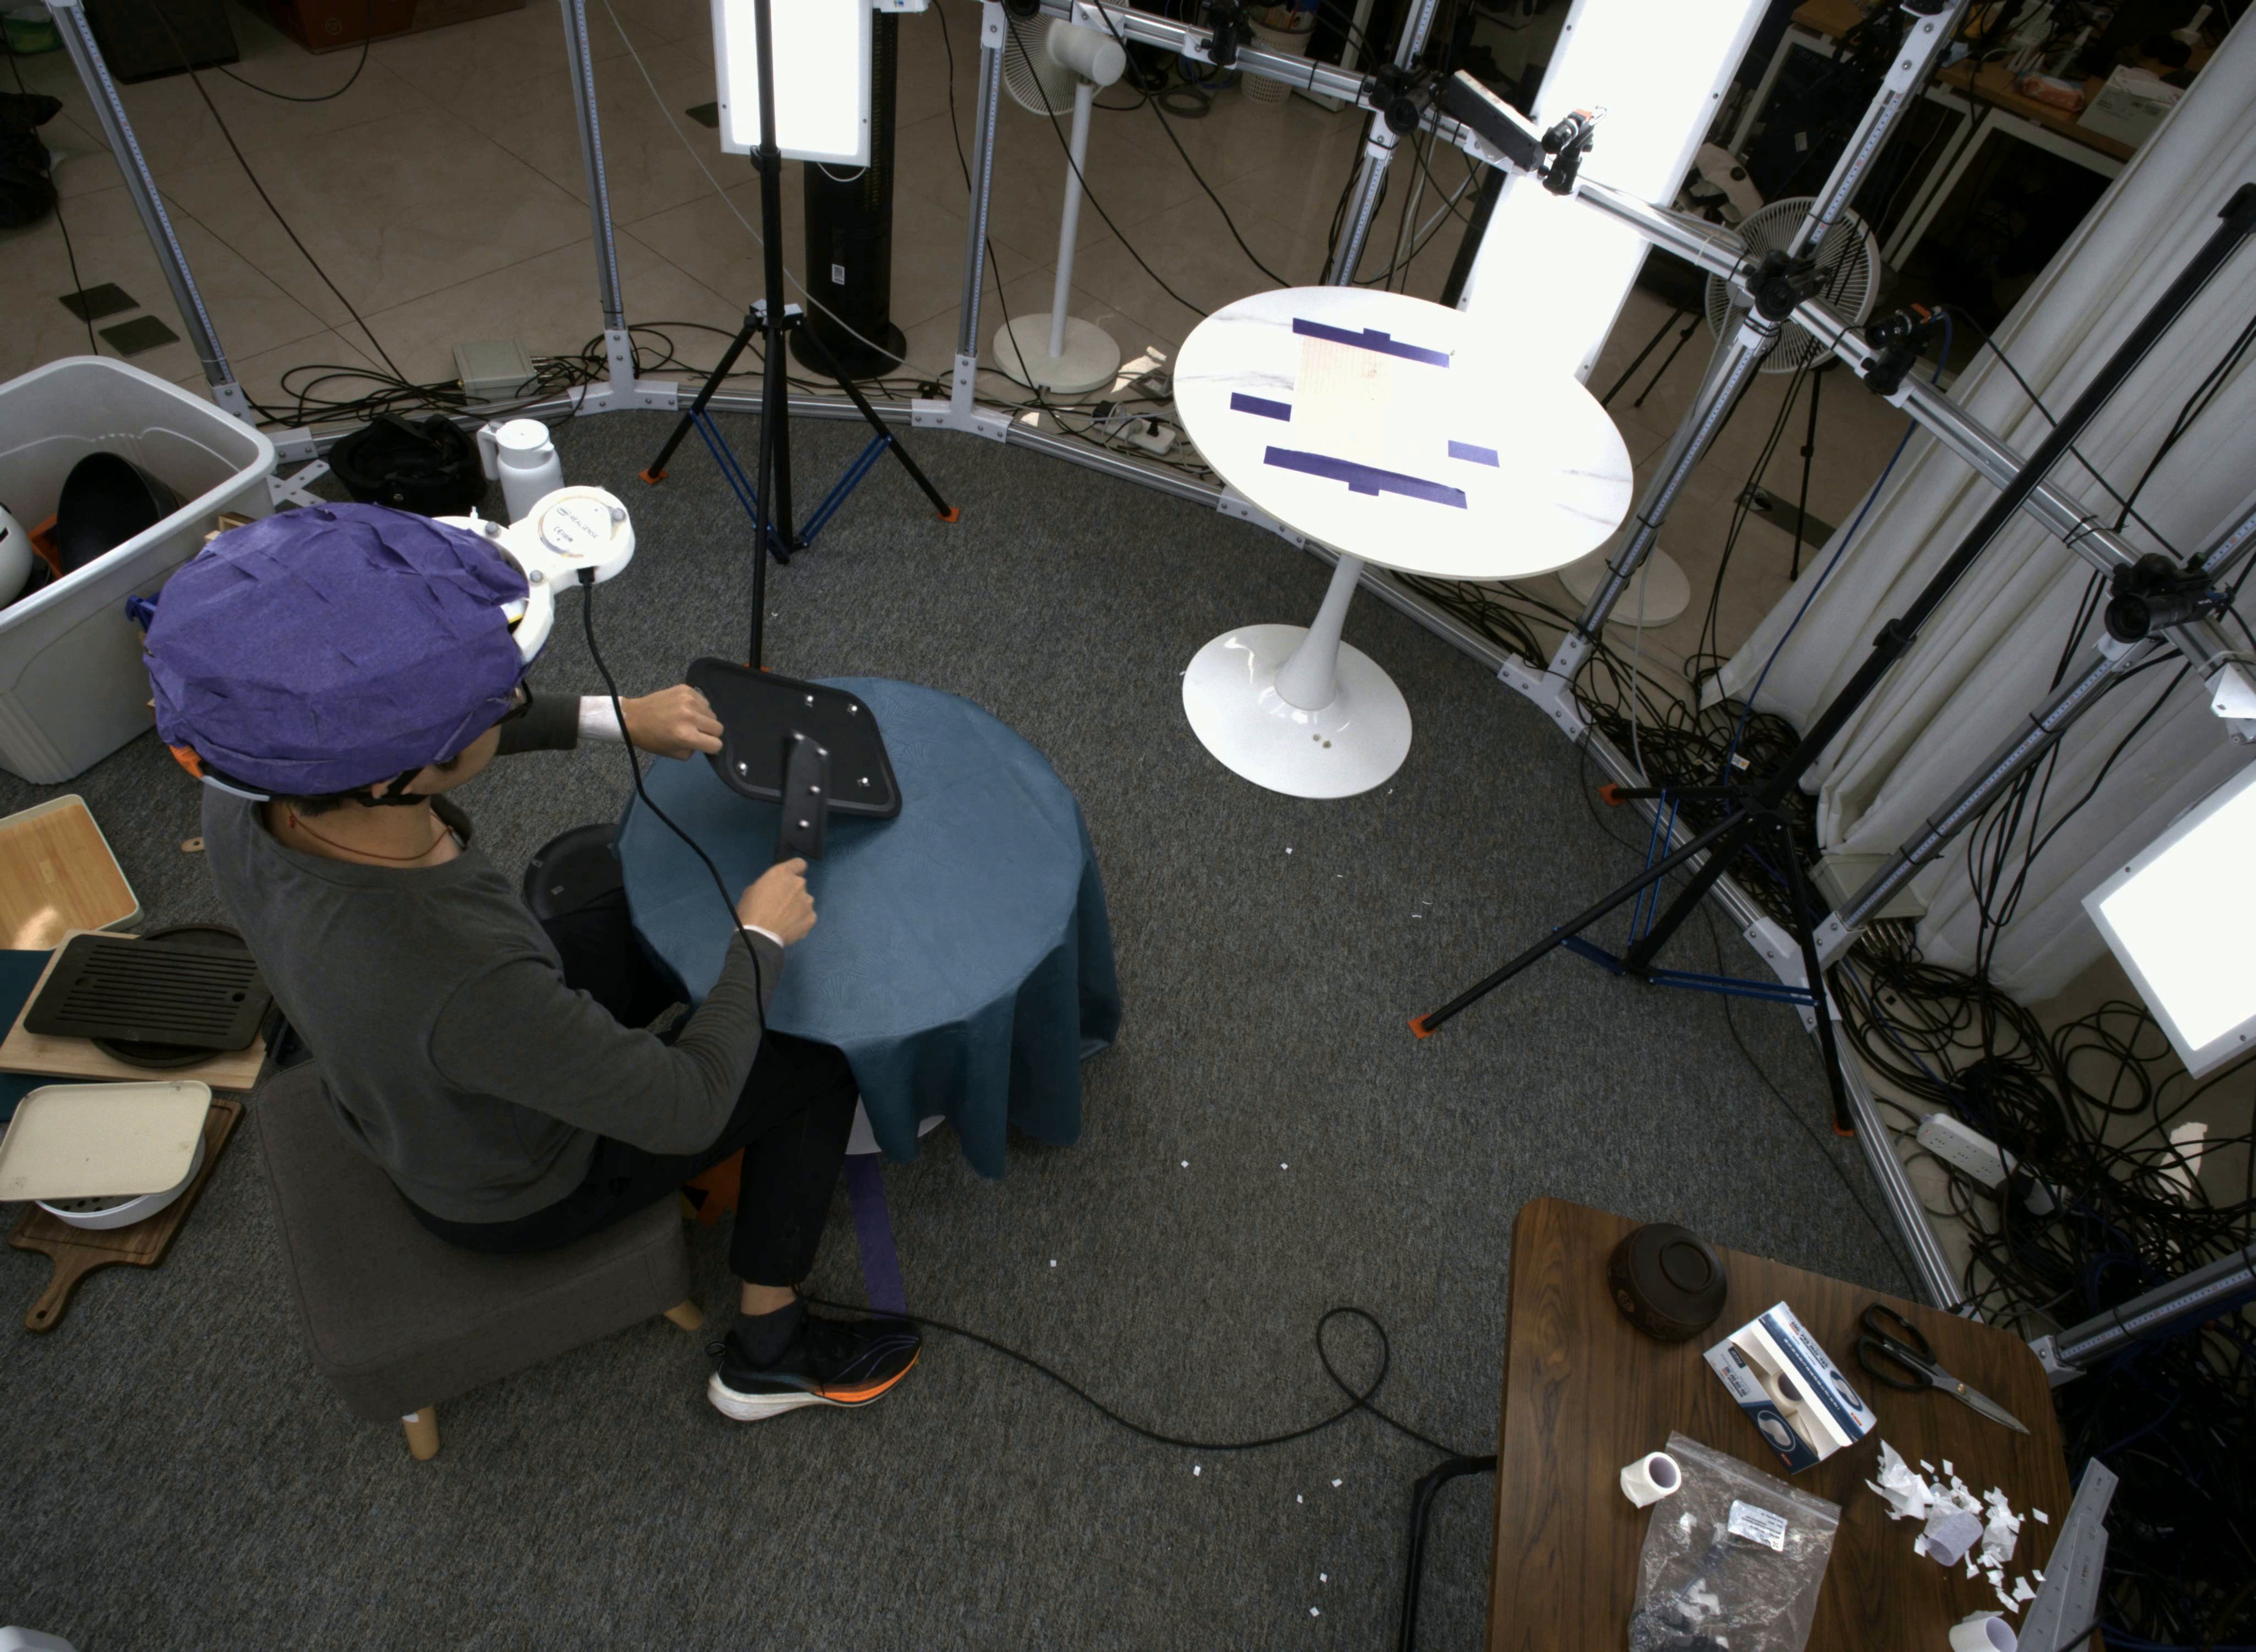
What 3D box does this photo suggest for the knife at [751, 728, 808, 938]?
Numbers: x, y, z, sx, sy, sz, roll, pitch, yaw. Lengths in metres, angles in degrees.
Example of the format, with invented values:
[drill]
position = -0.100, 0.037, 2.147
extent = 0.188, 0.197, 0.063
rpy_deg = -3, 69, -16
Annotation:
[knife]
position = -0.429, 0.004, 1.601
extent = 0.084, 0.020, 0.296
rpy_deg = 35, 39, -39

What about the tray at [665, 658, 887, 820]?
[tray]
position = -0.454, -0.112, 1.676
extent = 0.333, 0.010, 0.207
rpy_deg = 10, 52, -53
